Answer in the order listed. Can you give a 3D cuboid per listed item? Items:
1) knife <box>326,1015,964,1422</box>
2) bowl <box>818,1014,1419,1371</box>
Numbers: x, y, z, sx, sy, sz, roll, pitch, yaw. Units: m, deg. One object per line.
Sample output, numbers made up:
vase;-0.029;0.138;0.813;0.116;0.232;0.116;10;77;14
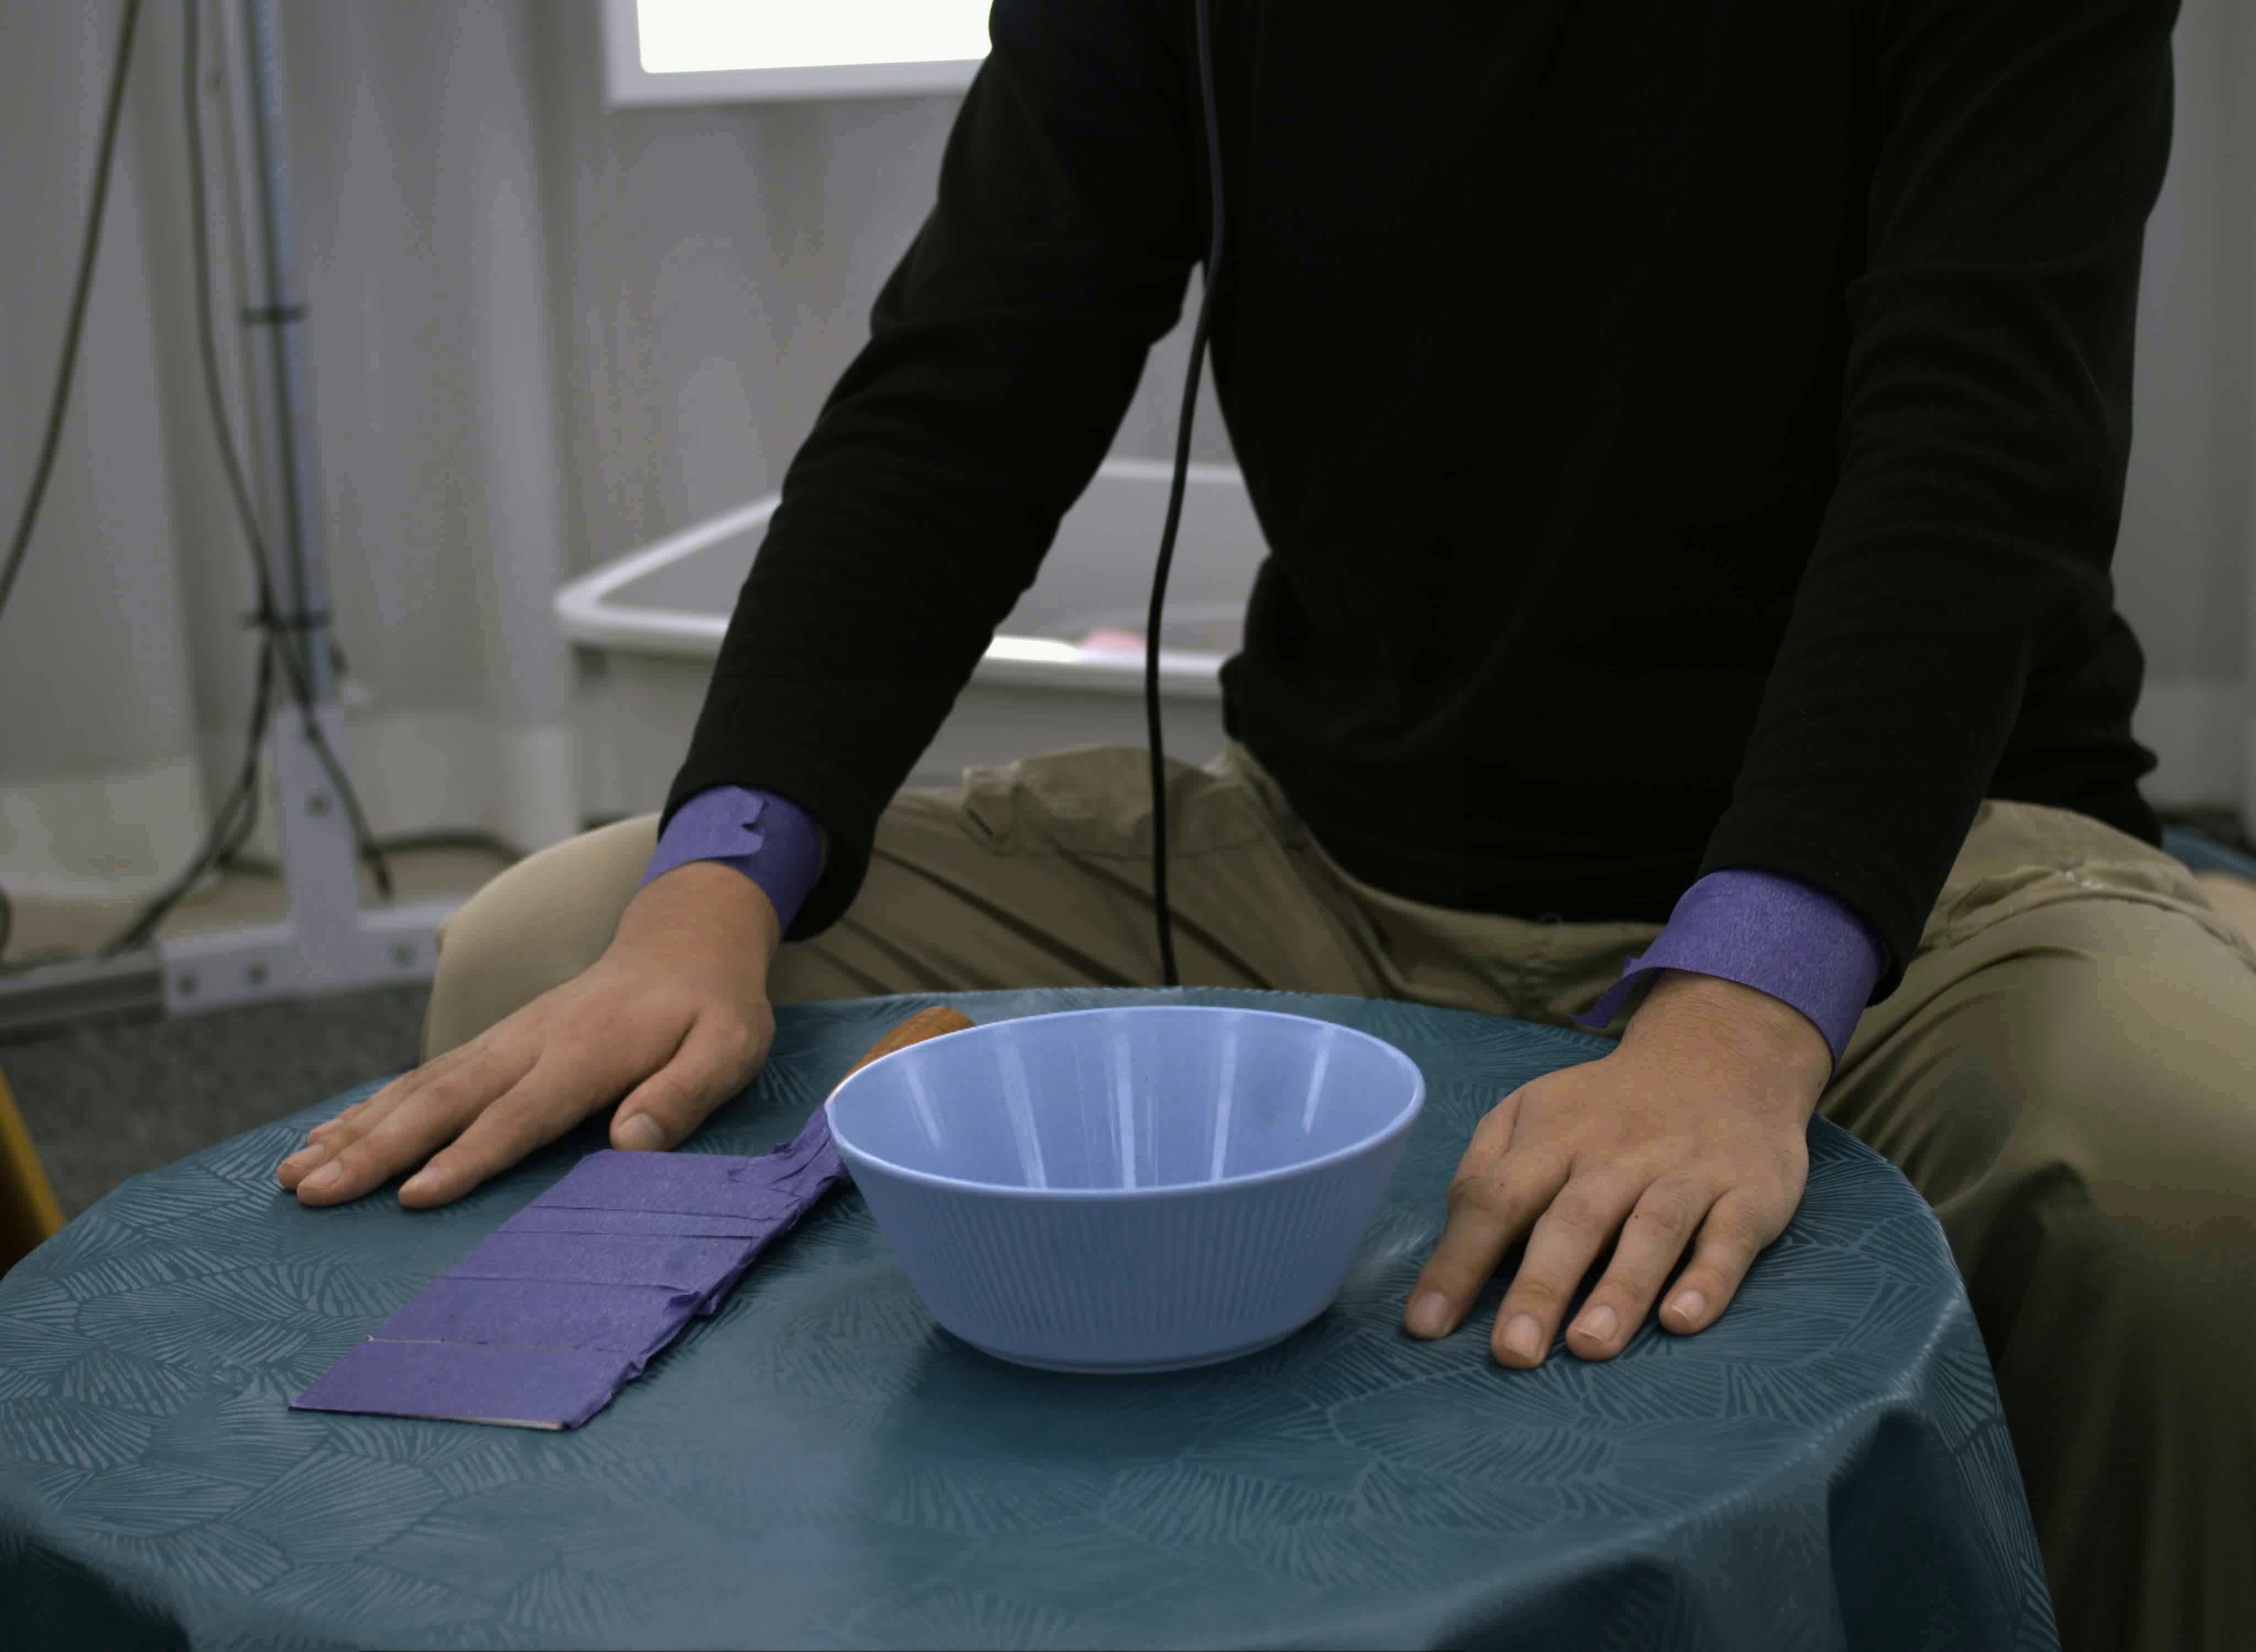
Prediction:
knife;-0.145;0.117;1.682;0.104;0.032;0.316;3;16;19
bowl;-0.002;0.109;1.598;0.175;0.070;0.177;-1;14;0
